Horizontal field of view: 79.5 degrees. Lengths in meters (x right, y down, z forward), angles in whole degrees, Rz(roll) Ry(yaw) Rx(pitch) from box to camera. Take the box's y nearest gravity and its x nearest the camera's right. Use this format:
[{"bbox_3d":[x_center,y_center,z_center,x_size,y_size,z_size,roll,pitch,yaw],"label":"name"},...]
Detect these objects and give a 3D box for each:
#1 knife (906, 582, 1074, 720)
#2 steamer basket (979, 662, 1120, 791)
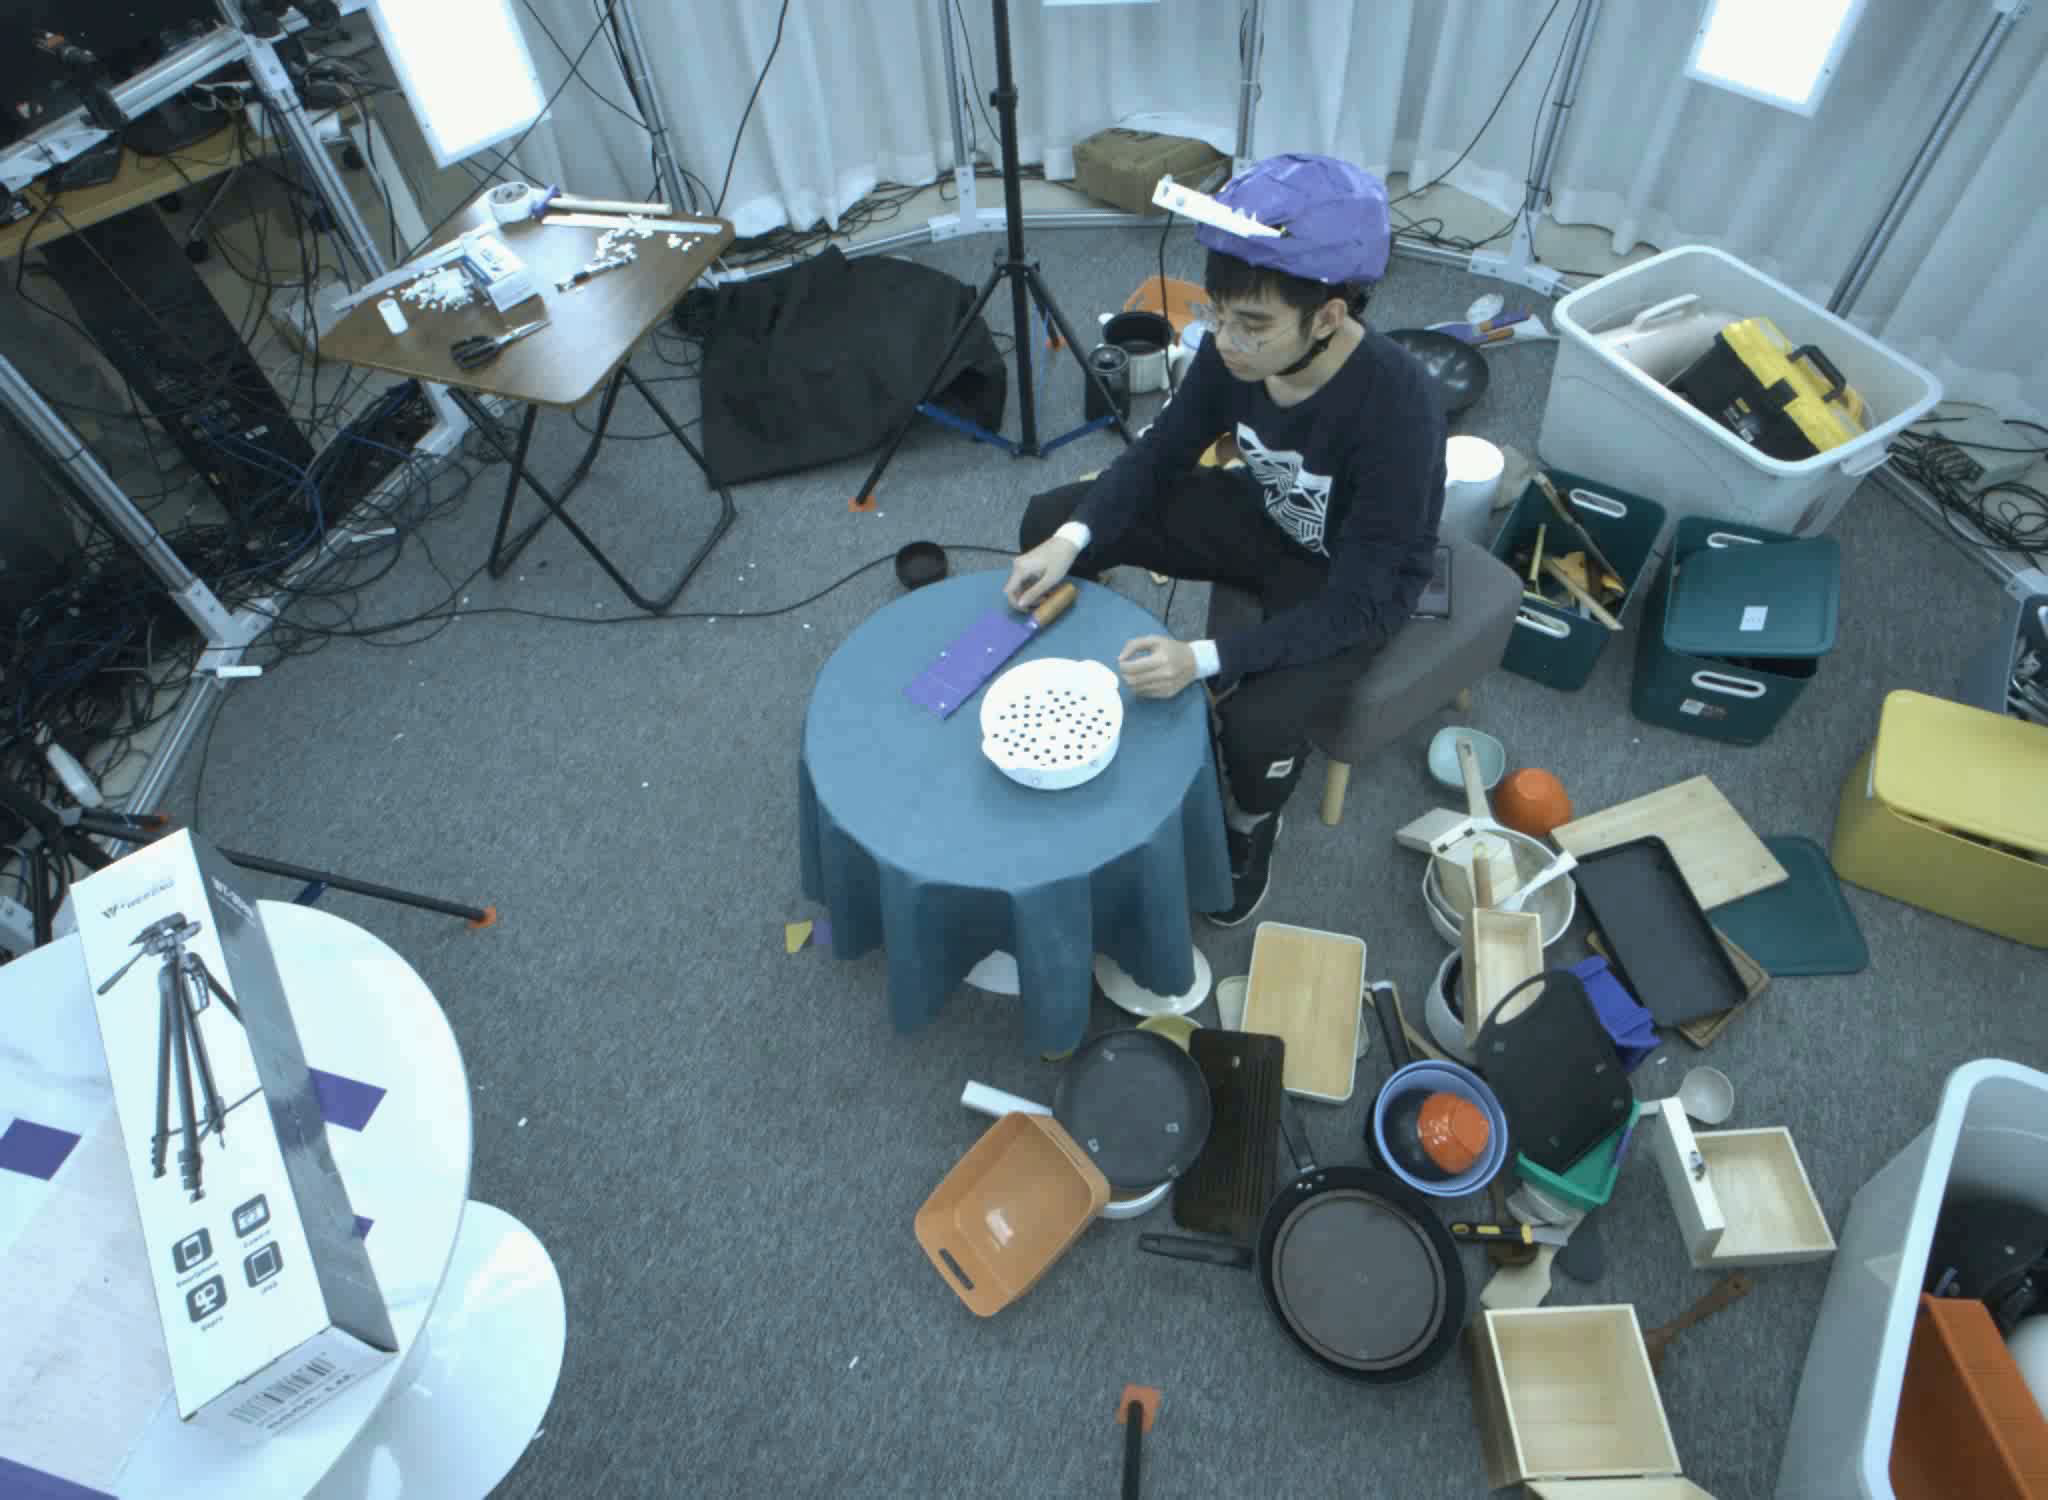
[{"bbox_3d":[-0.054,-0.170,1.902,0.102,0.032,0.317,33,62,22],"label":"knife"},{"bbox_3d":[0.037,-0.033,1.778,0.232,0.070,0.198,-38,63,-26],"label":"steamer basket"}]
